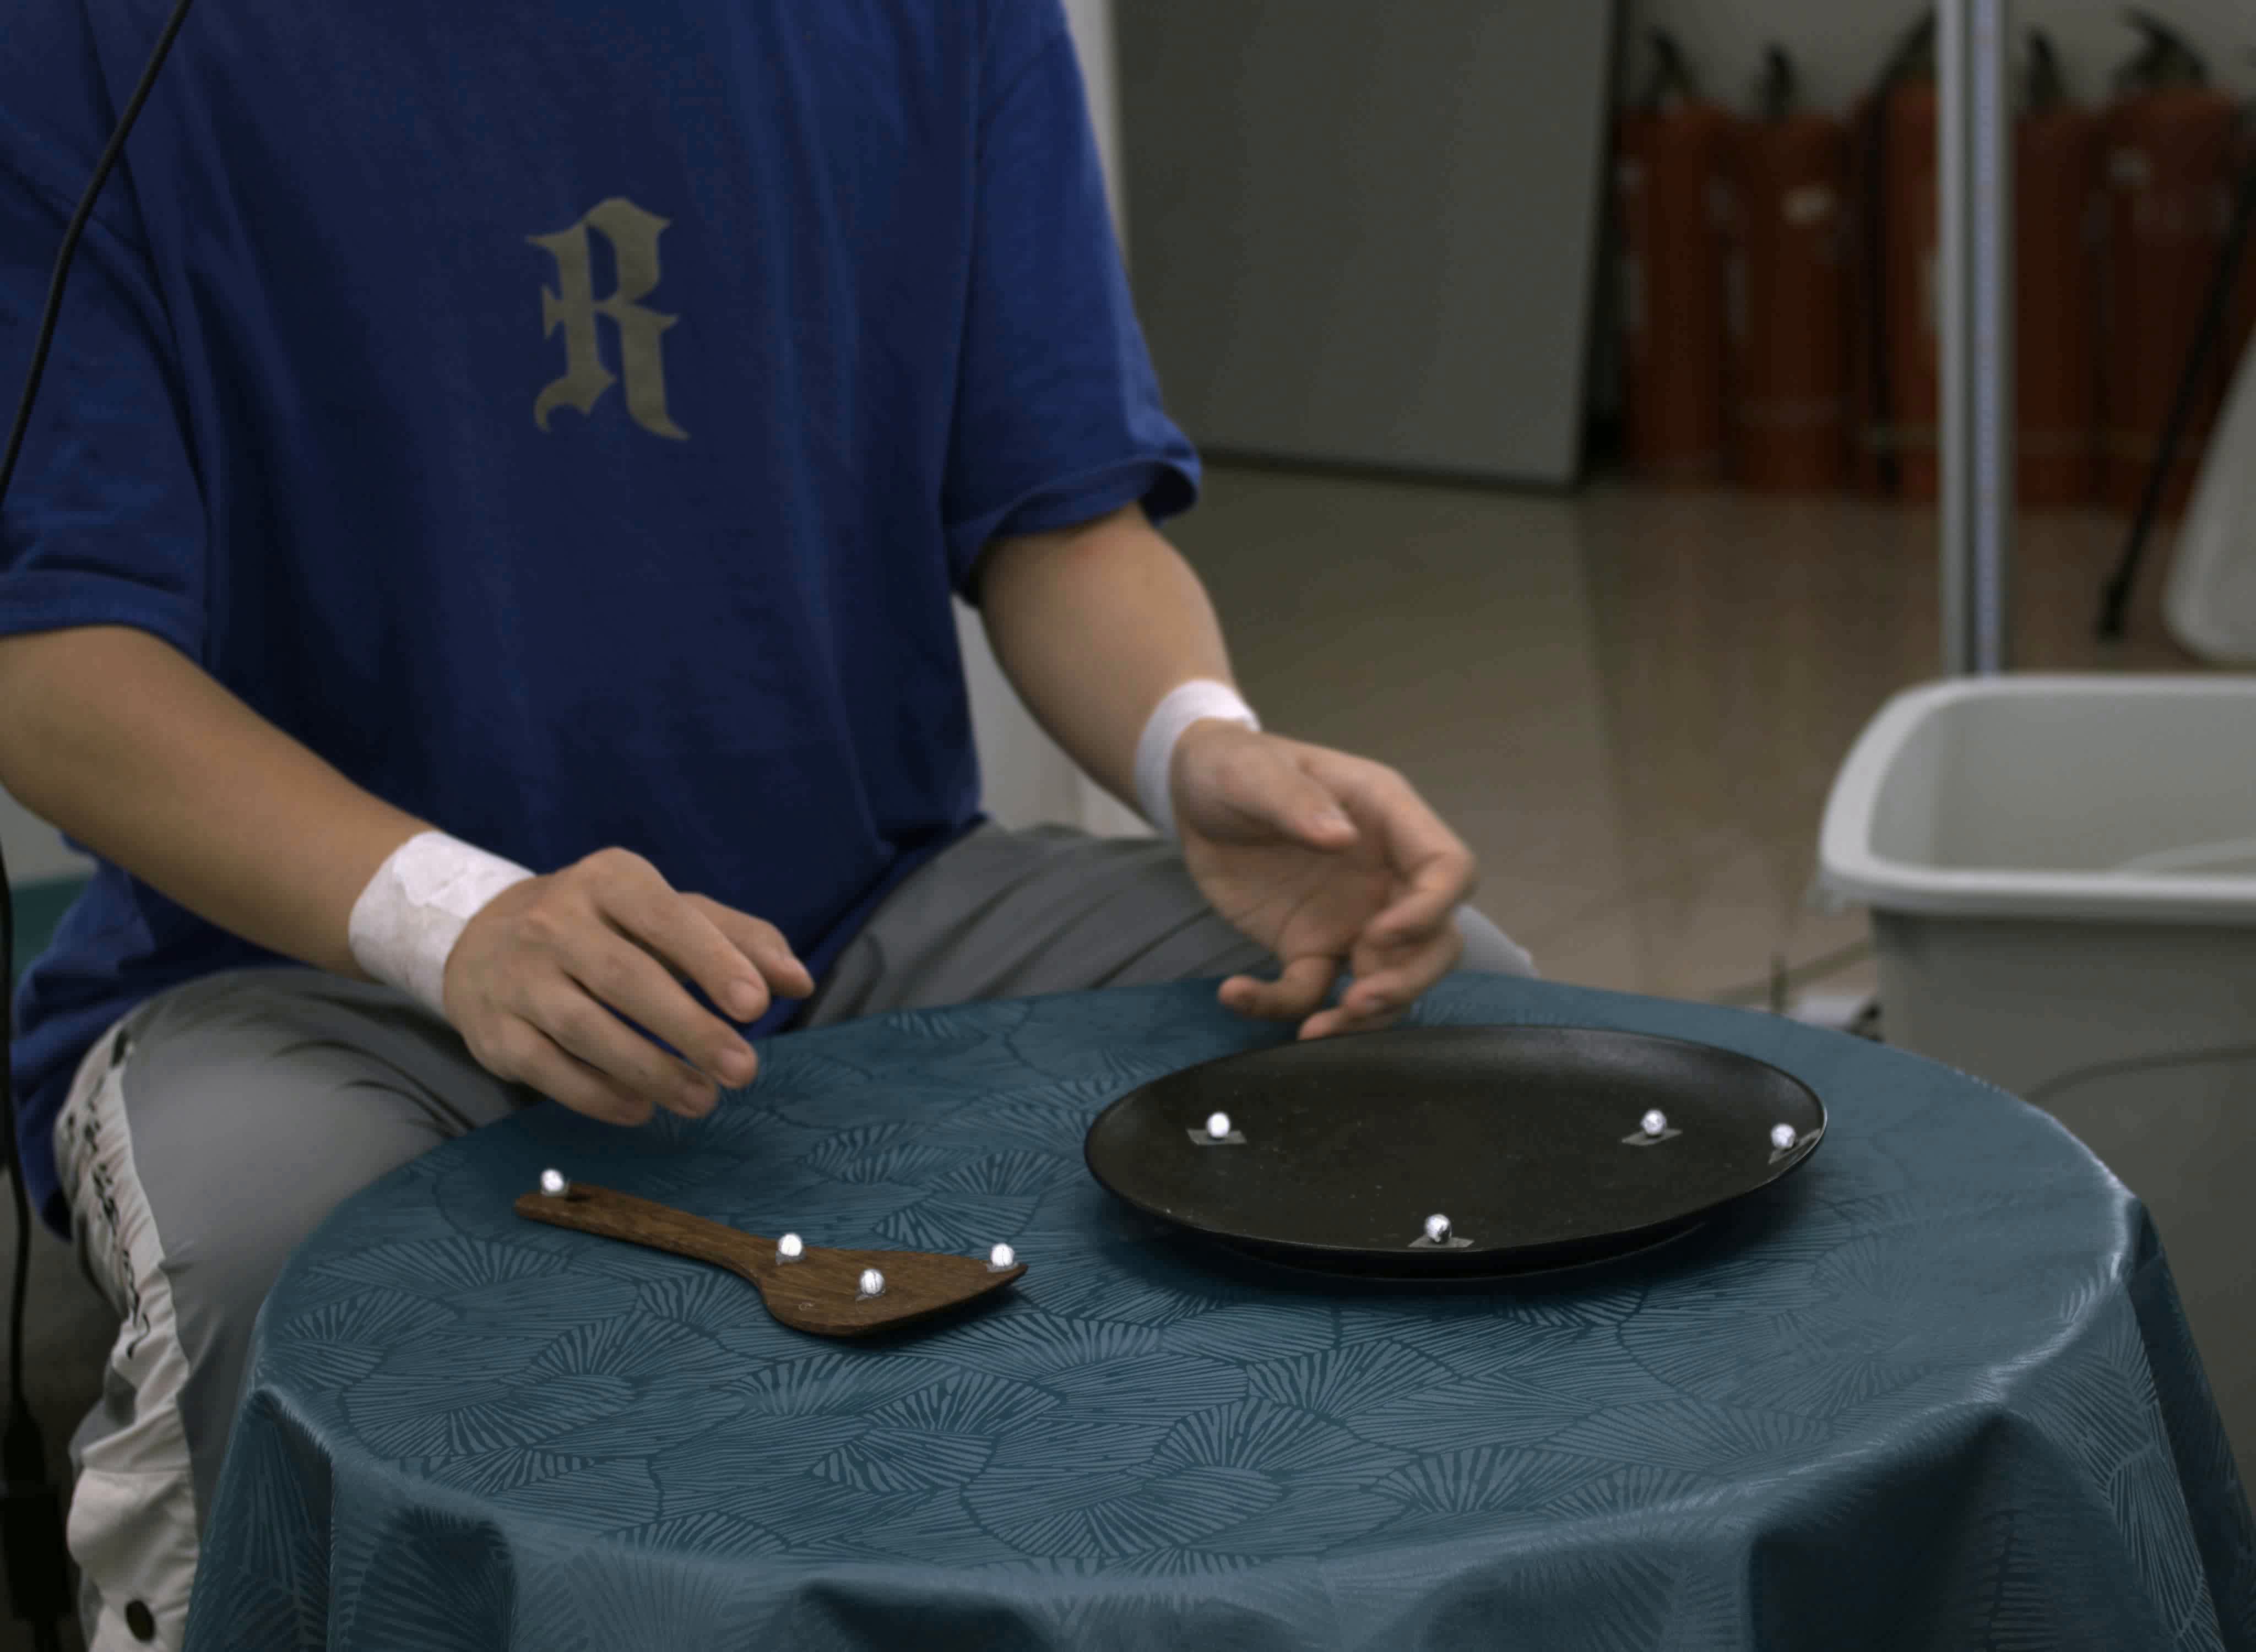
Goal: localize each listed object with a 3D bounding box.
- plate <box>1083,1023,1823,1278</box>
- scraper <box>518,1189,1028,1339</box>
[{"bbox_3d":[0.105,0.107,1.747,0.241,0.024,0.245,-4,14,0],"label":"plate"},{"bbox_3d":[-0.122,0.137,1.725,0.074,0.011,0.213,-16,17,-41],"label":"scraper"}]
